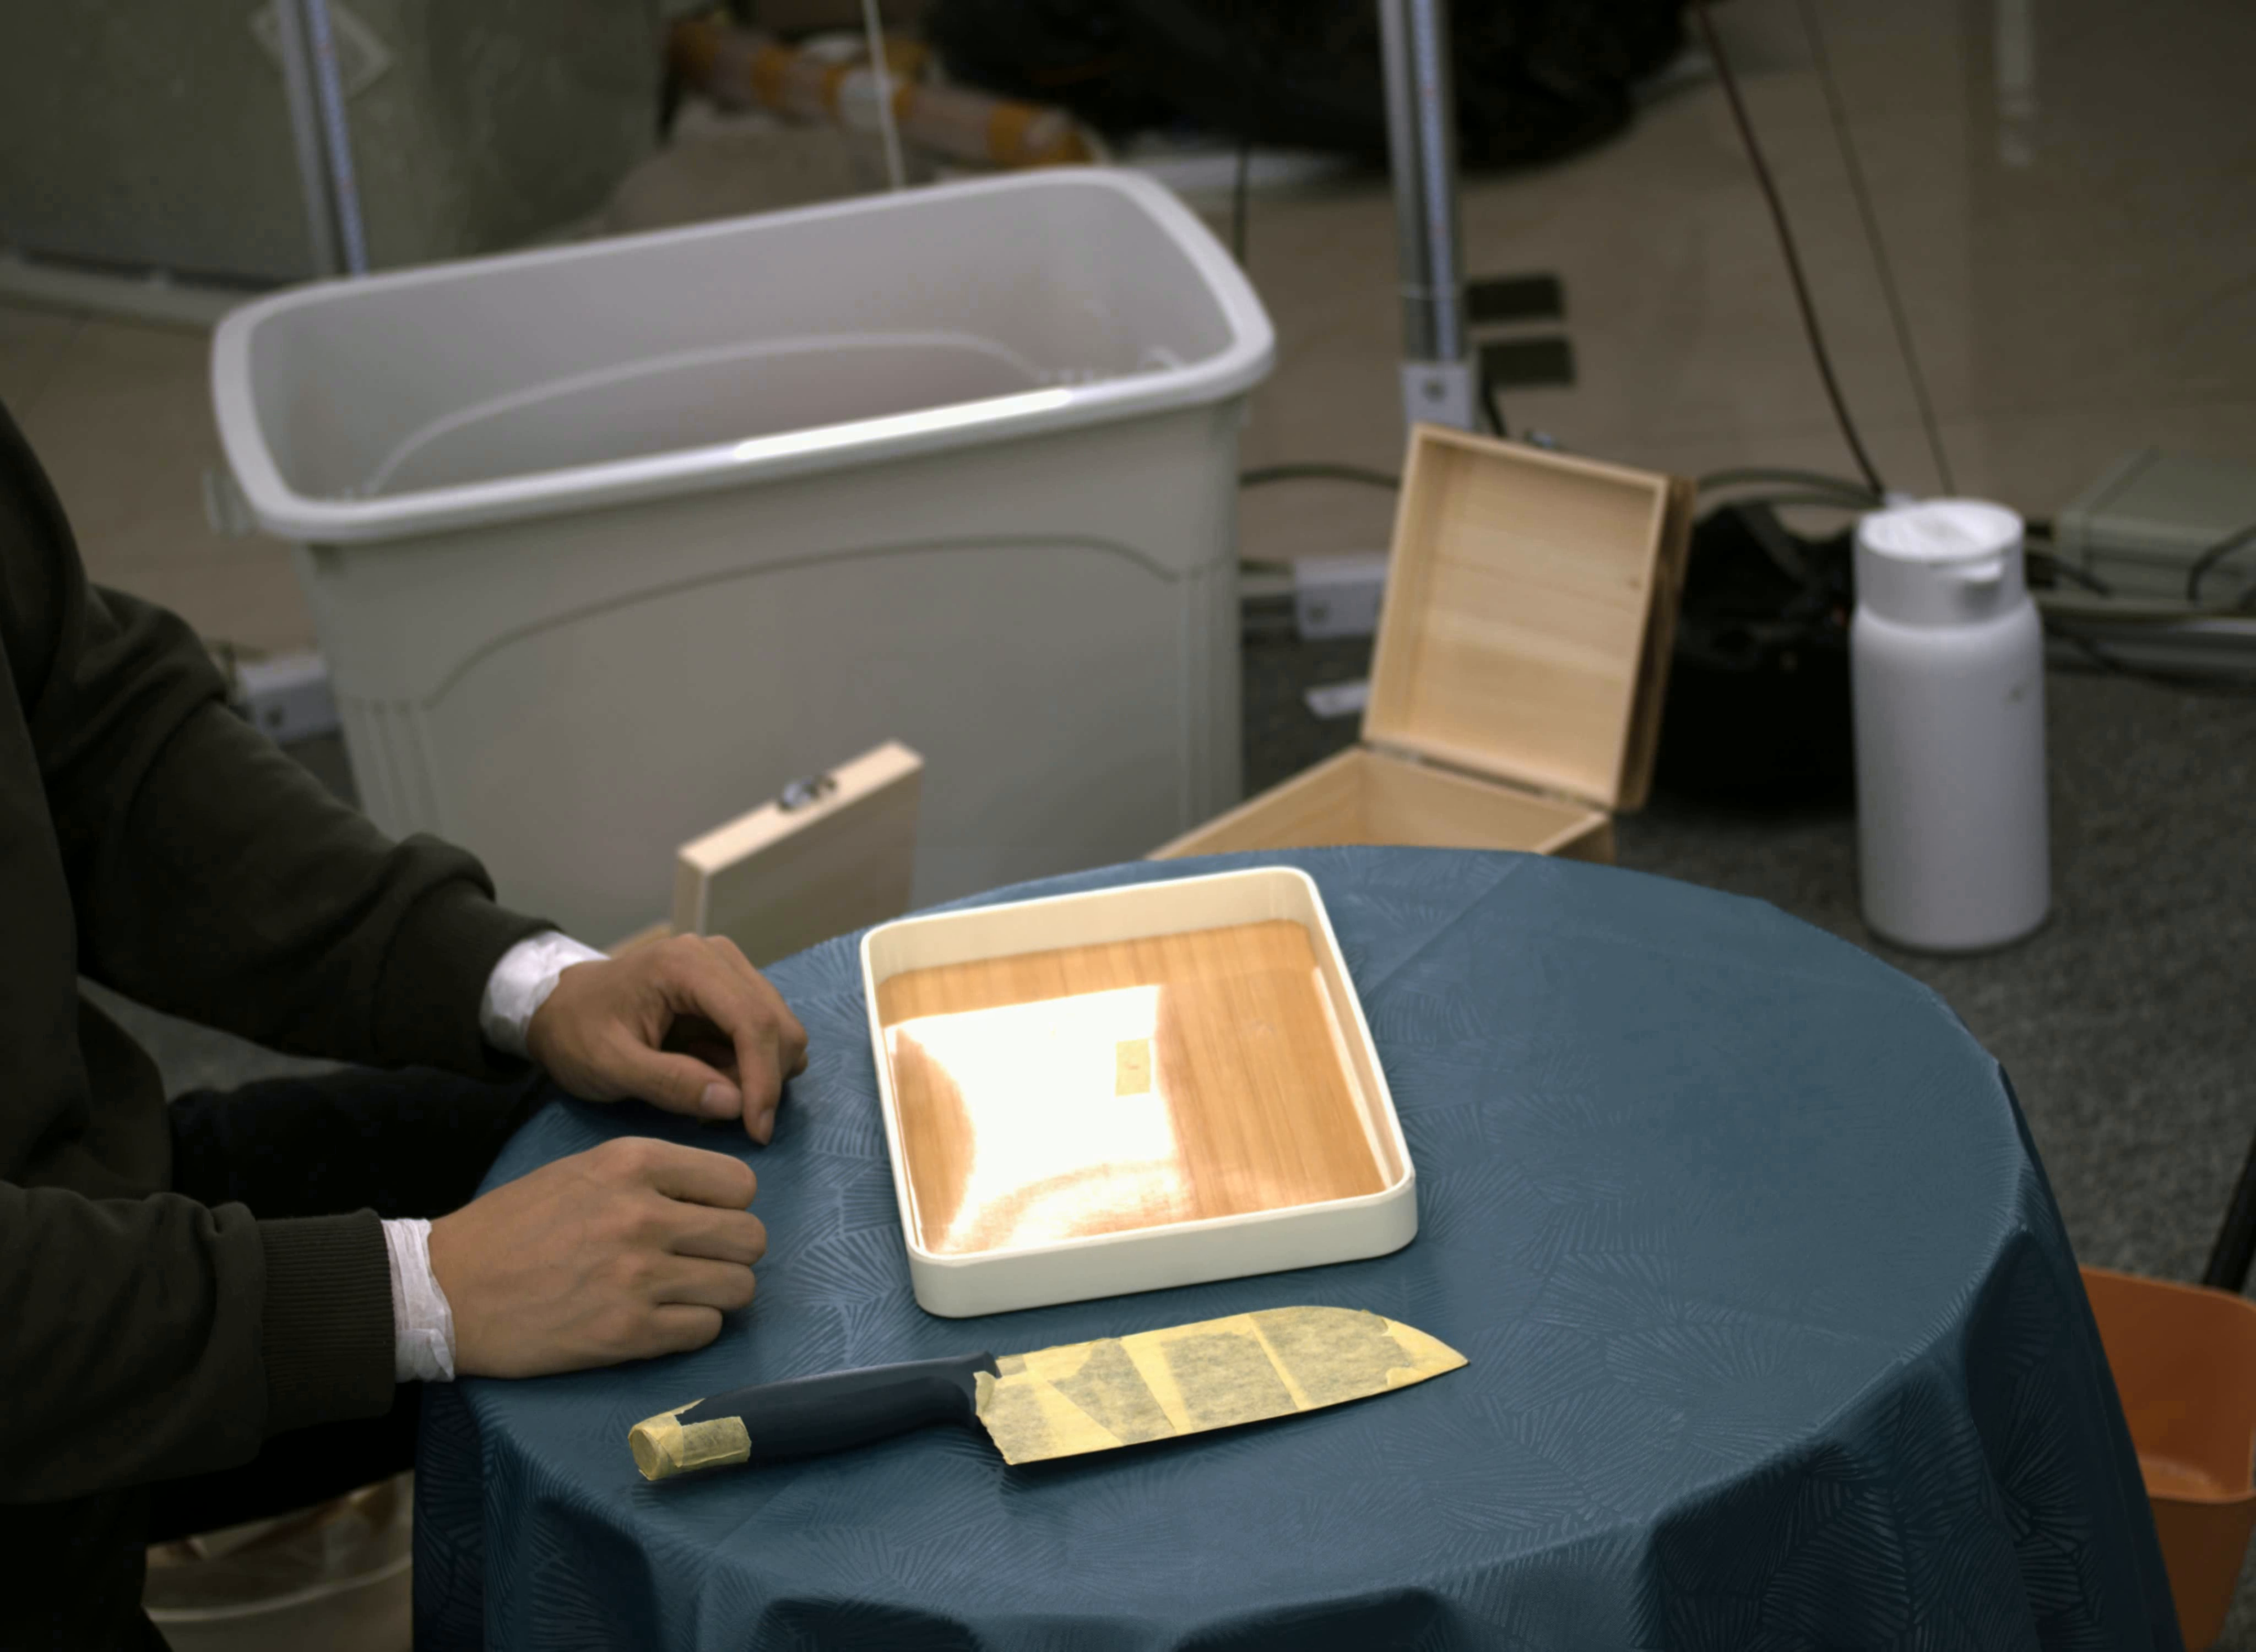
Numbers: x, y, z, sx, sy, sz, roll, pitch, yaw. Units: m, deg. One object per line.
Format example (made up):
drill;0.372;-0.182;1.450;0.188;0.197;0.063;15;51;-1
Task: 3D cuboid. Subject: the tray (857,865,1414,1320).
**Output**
tray;-0.002;0.099;2.207;0.191;0.028;0.296;-9;24;-3

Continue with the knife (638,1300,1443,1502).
knife;-0.028;0.204;2.000;0.289;0.027;0.080;-10;24;-9
